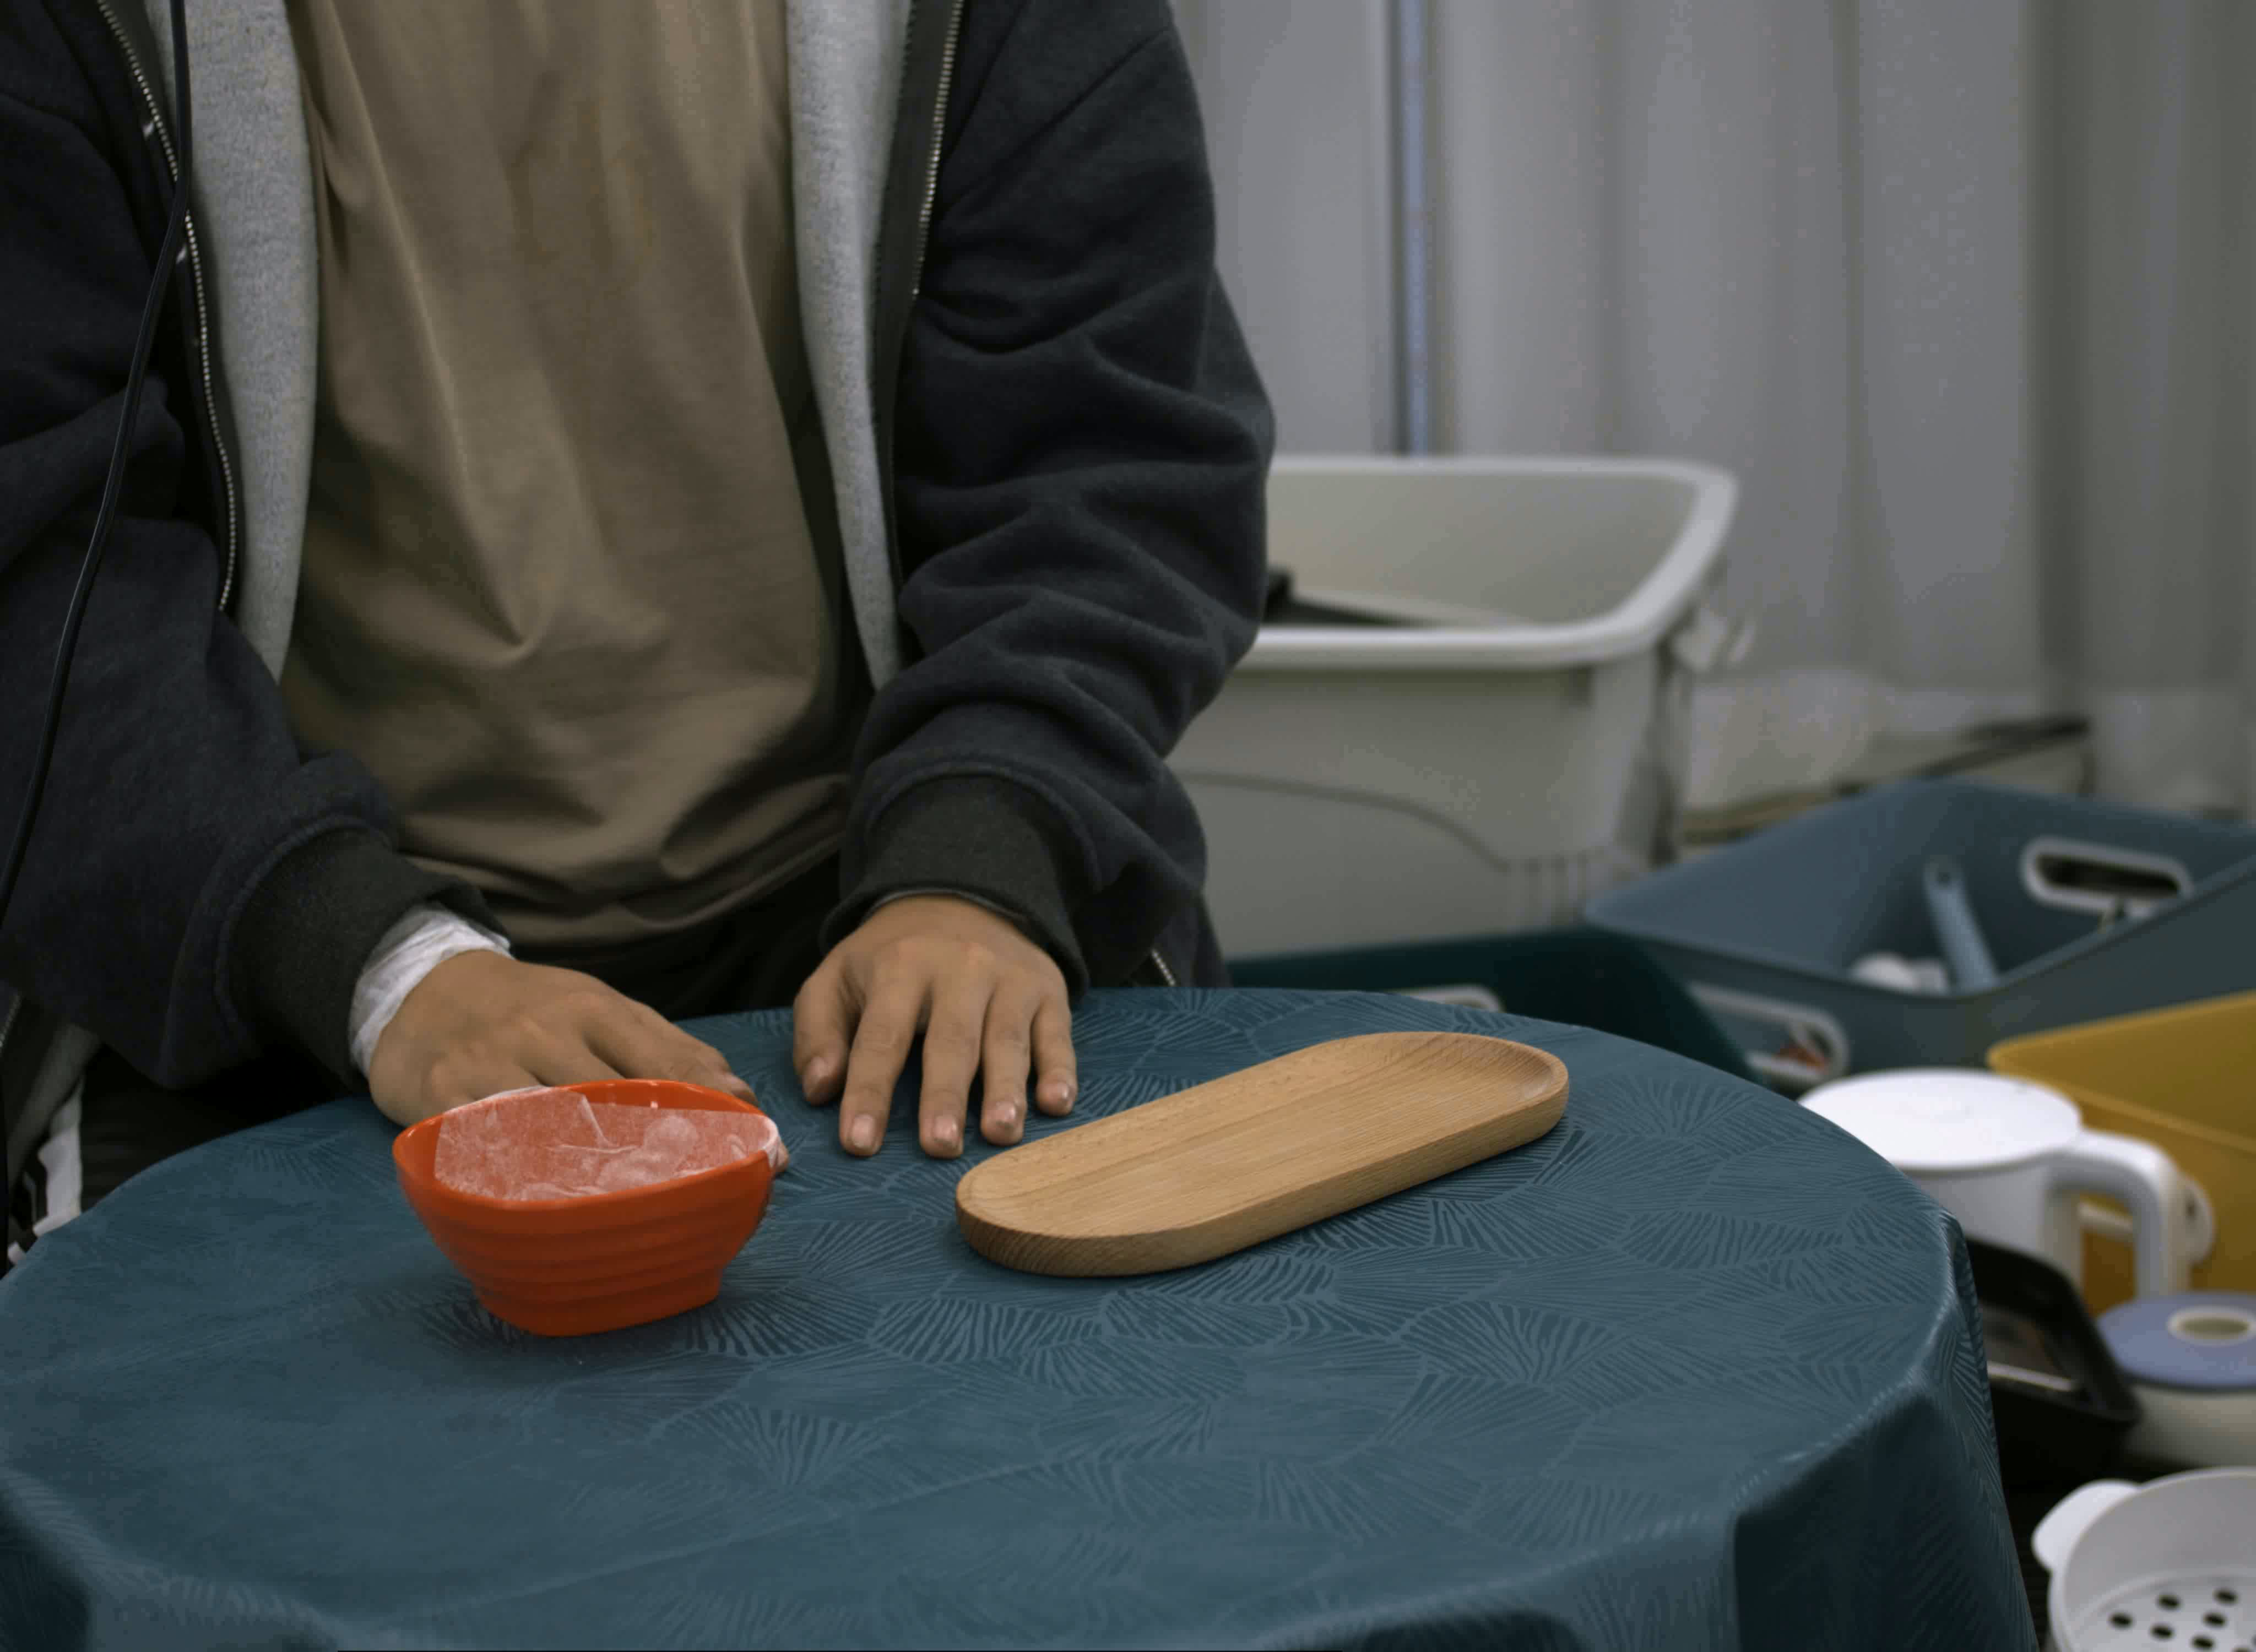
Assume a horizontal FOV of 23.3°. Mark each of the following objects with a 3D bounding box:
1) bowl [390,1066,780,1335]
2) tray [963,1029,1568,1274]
[{"bbox_3d":[-0.161,0.115,1.641,0.118,0.051,0.120,-2,17,0],"label":"bowl"},{"bbox_3d":[0.046,0.101,1.726,0.230,0.020,0.102,-16,20,-43],"label":"tray"}]
